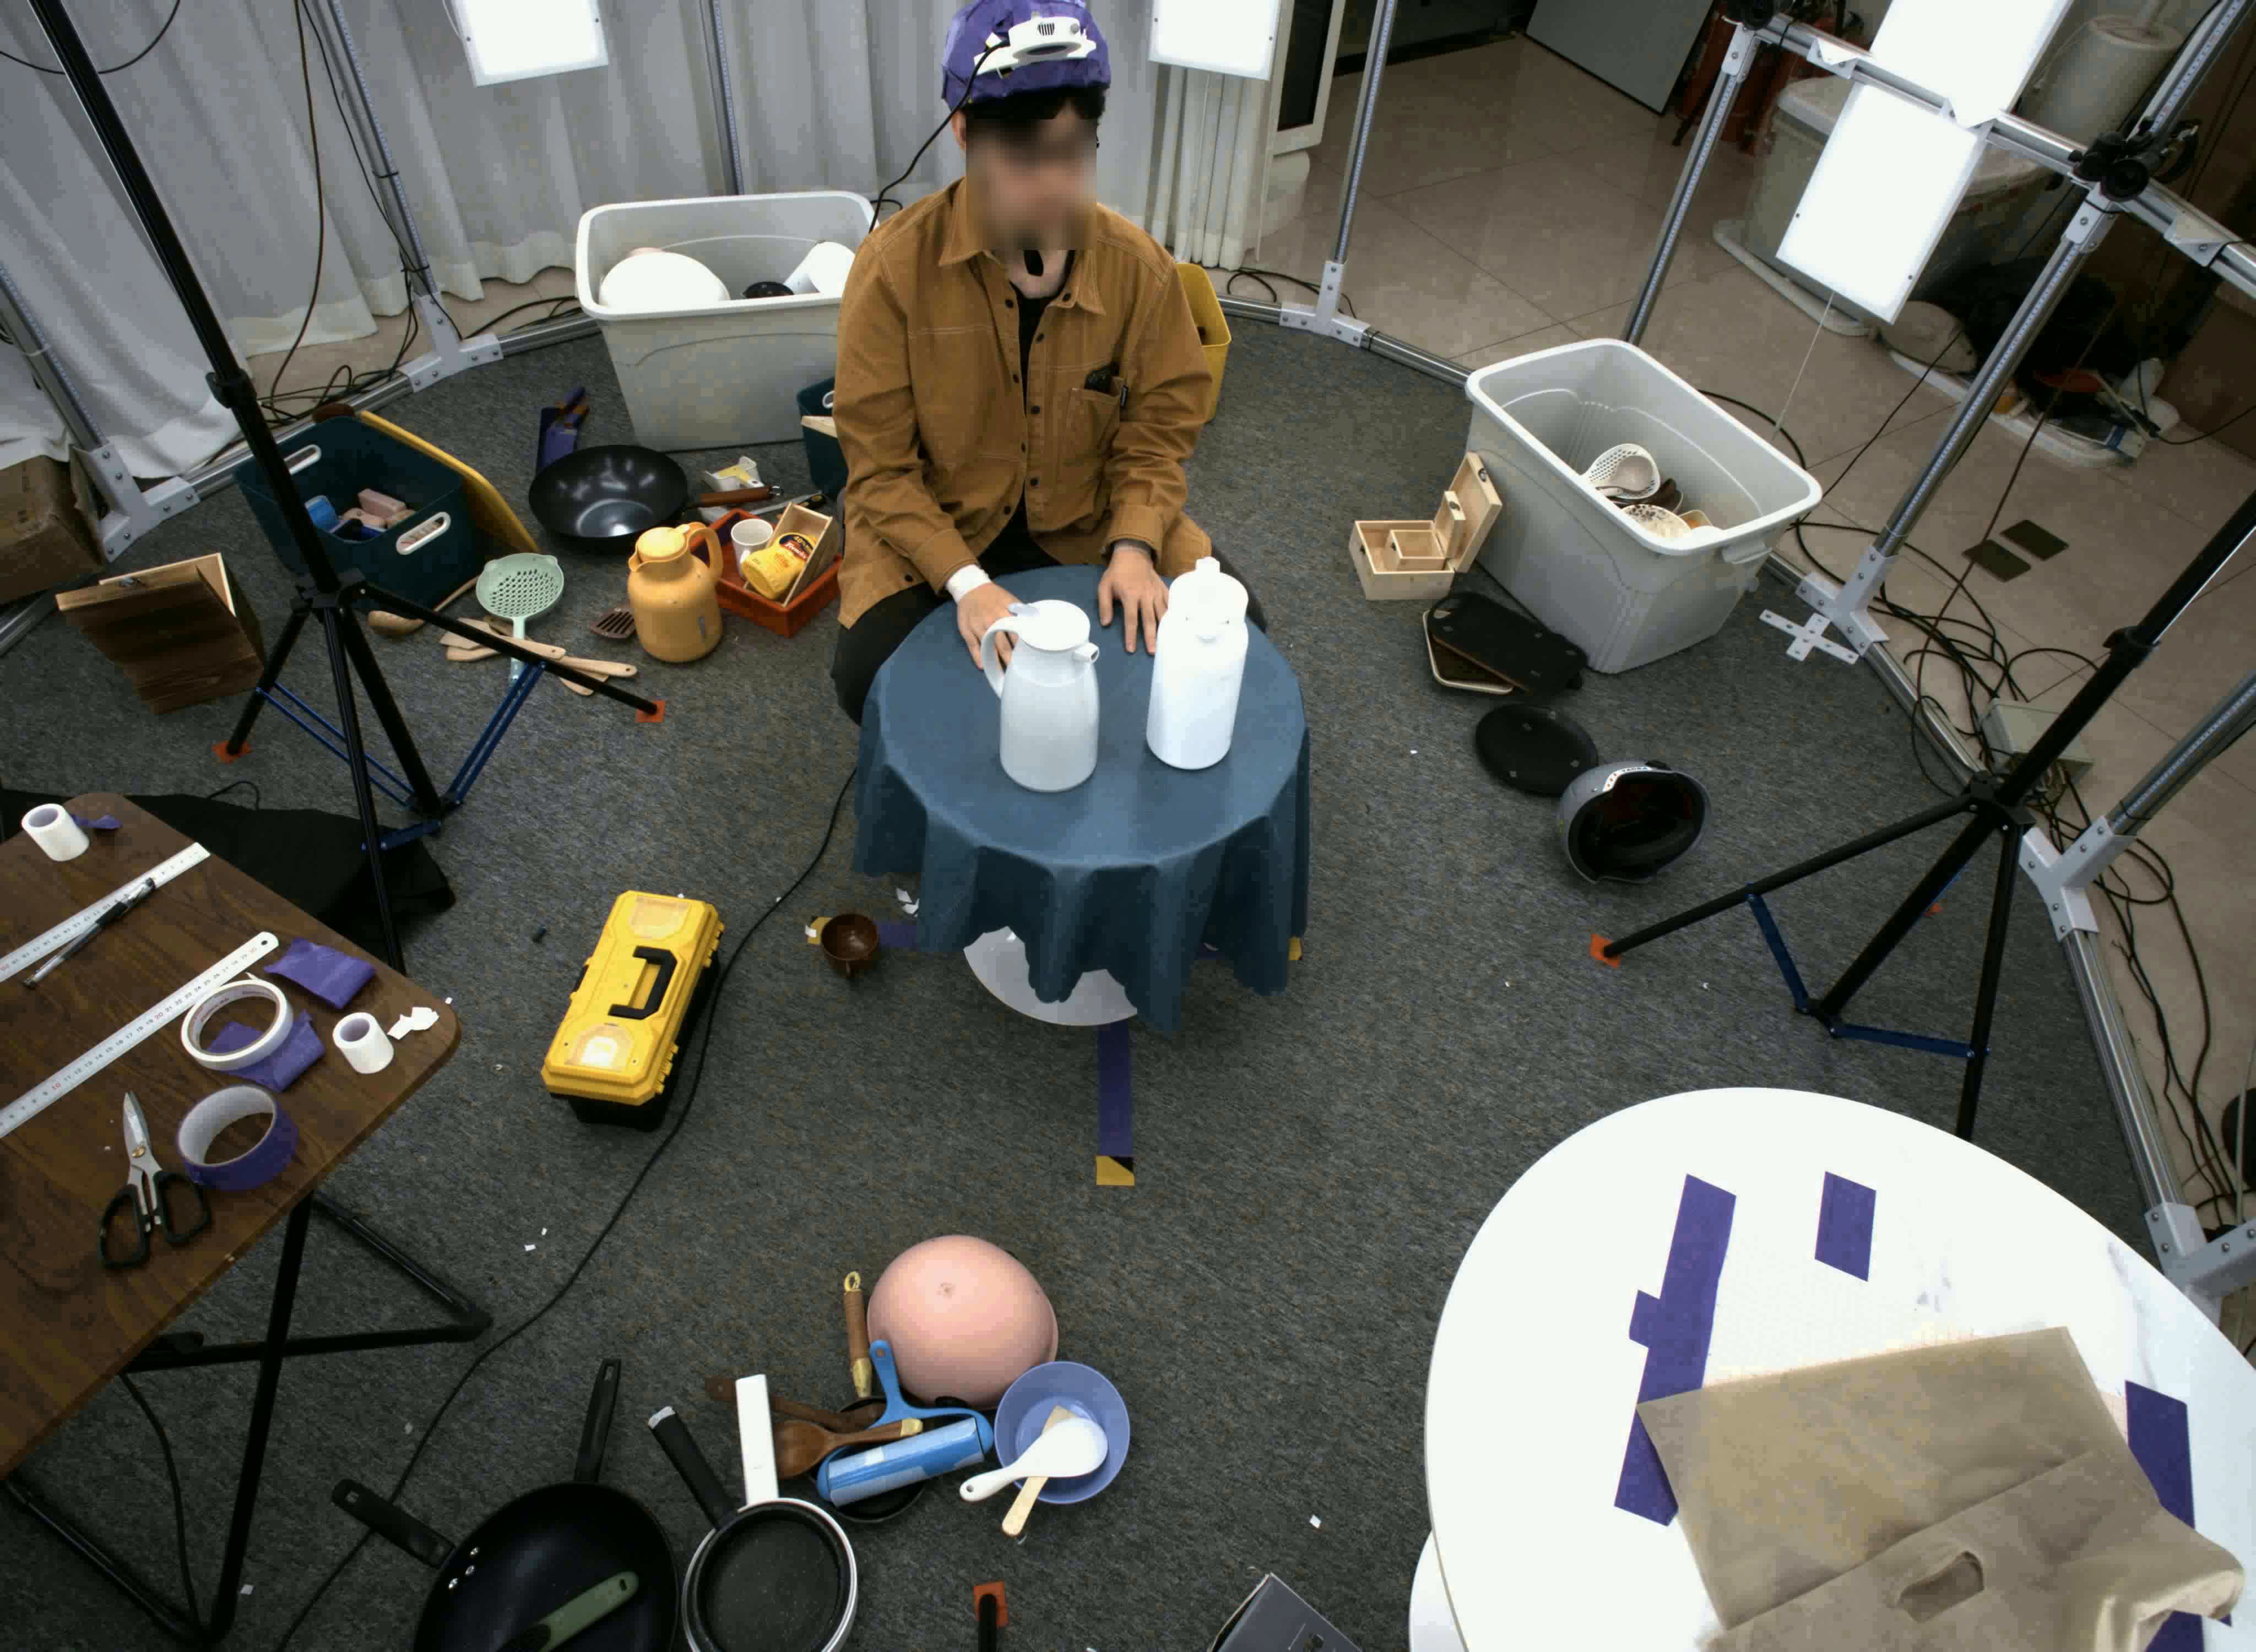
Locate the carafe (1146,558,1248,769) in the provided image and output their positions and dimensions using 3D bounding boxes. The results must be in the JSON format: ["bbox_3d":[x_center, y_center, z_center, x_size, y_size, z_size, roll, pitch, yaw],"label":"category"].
[{"bbox_3d":[0.090,-0.215,1.689,0.124,0.262,0.177,3,49,1],"label":"carafe"}]

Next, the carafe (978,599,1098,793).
[{"bbox_3d":[-0.119,-0.180,1.657,0.169,0.242,0.134,25,52,18],"label":"carafe"}]
